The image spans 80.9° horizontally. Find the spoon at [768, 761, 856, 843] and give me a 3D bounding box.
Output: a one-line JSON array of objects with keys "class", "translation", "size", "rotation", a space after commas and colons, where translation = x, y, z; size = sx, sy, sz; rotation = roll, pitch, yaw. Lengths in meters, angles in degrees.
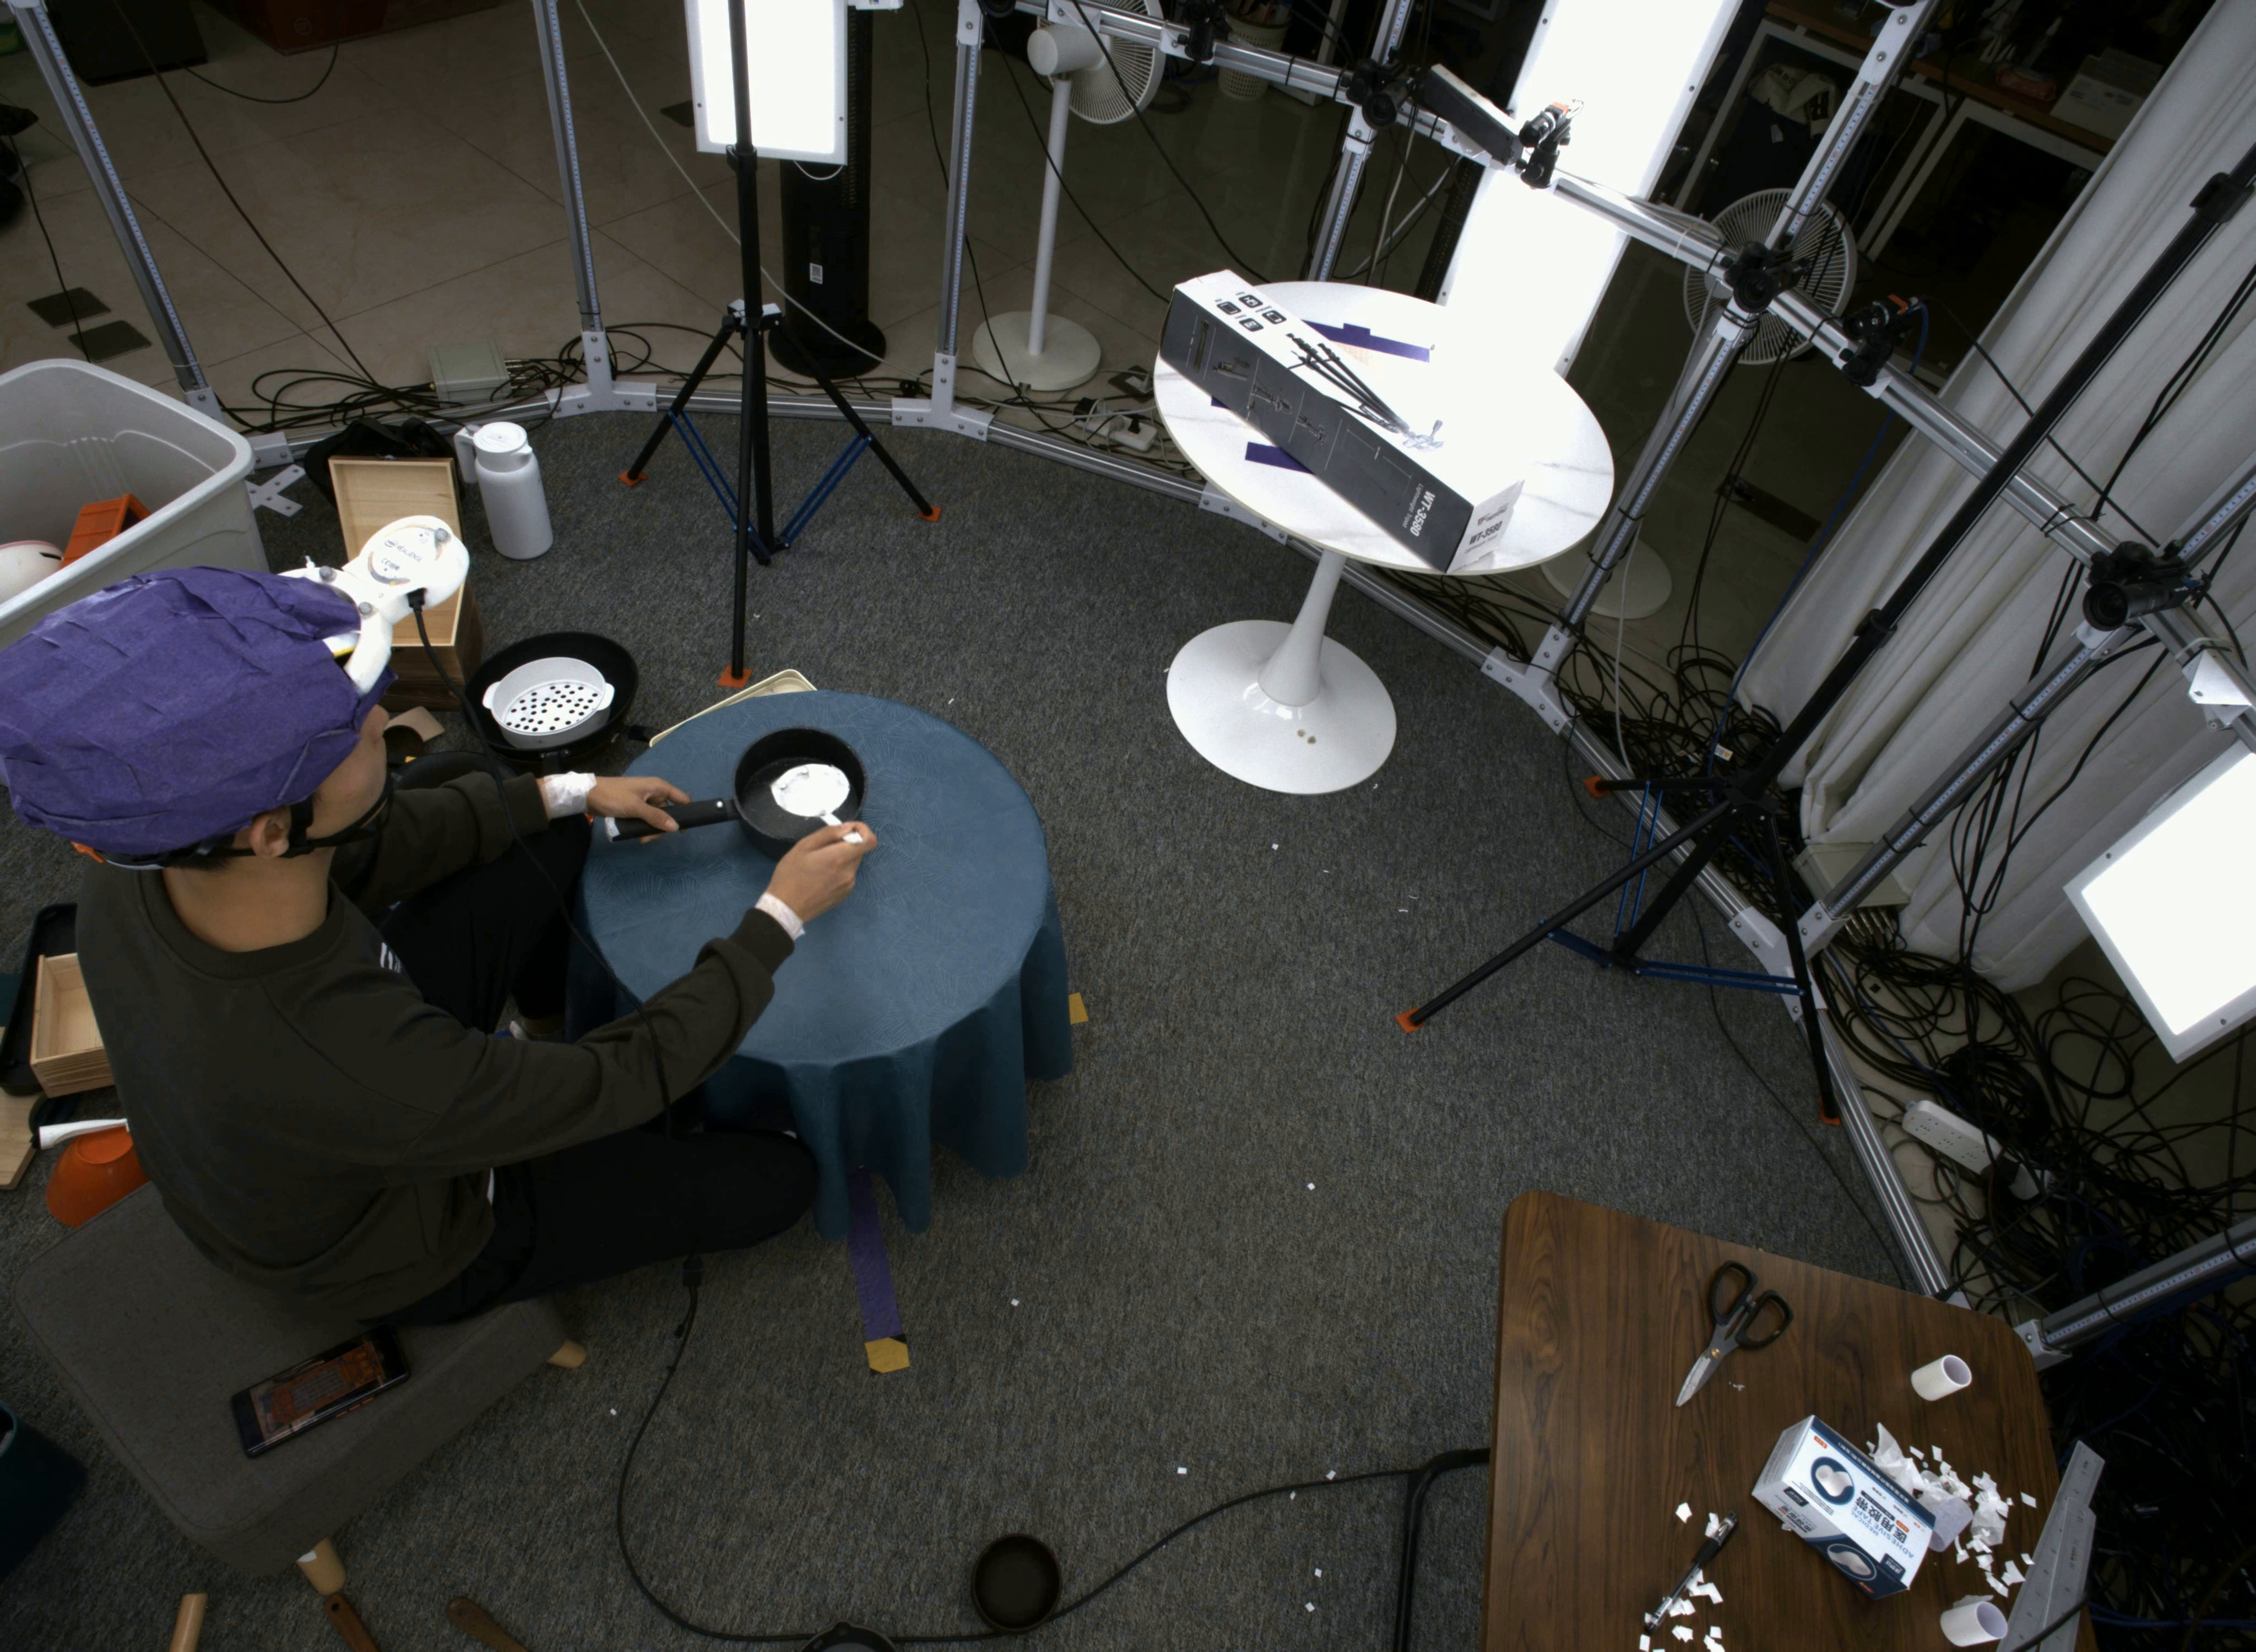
[{"class": "spoon", "translation": [-0.363, -0.031, 1.527], "size": [0.101, 0.061, 0.269], "rotation": [-17, 15, -19]}]

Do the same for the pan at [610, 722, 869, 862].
[{"class": "pan", "translation": [-0.500, -0.026, 1.667], "size": [0.330, 0.087, 0.169], "rotation": [-13, 68, -23]}]
